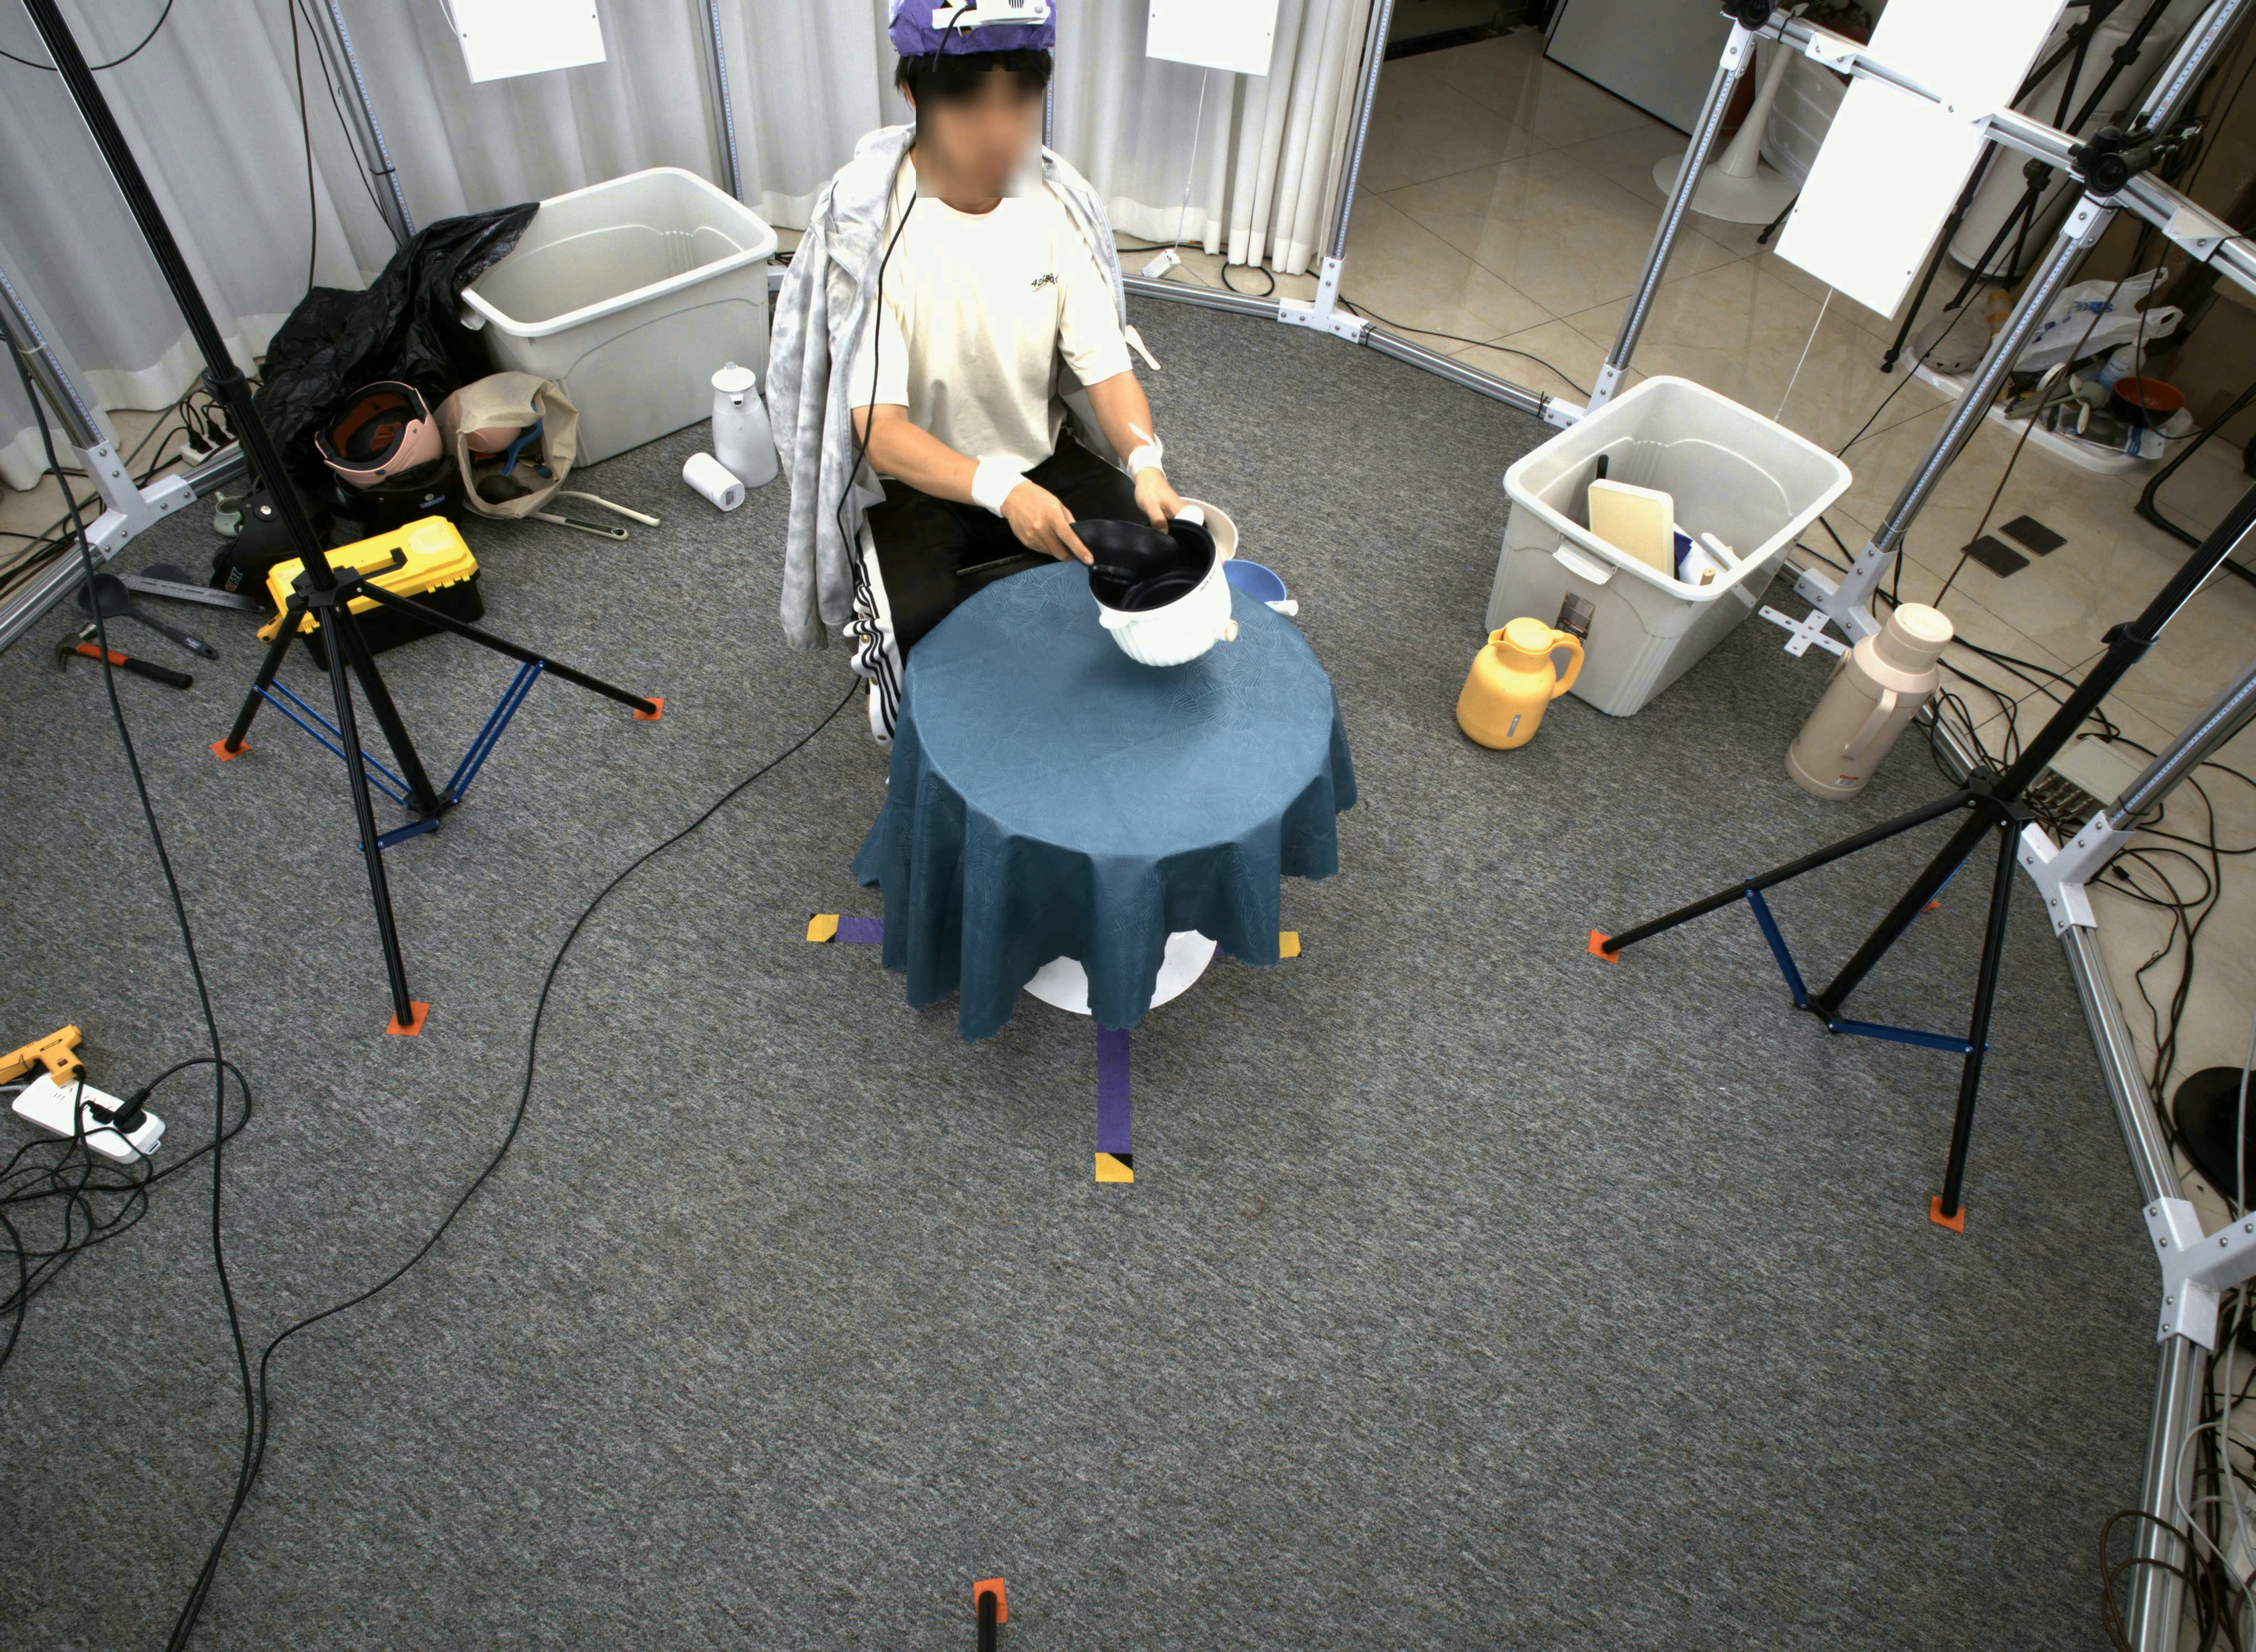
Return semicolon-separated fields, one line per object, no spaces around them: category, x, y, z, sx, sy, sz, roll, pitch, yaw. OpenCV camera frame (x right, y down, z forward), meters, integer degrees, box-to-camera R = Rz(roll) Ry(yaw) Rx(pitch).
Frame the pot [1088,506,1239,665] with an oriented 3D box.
pot;0.057;-0.320;1.798;0.192;0.139;0.244;15;59;36

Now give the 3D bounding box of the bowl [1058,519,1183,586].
bowl;-0.012;-0.363;1.728;0.169;0.137;0.067;12;87;-15
